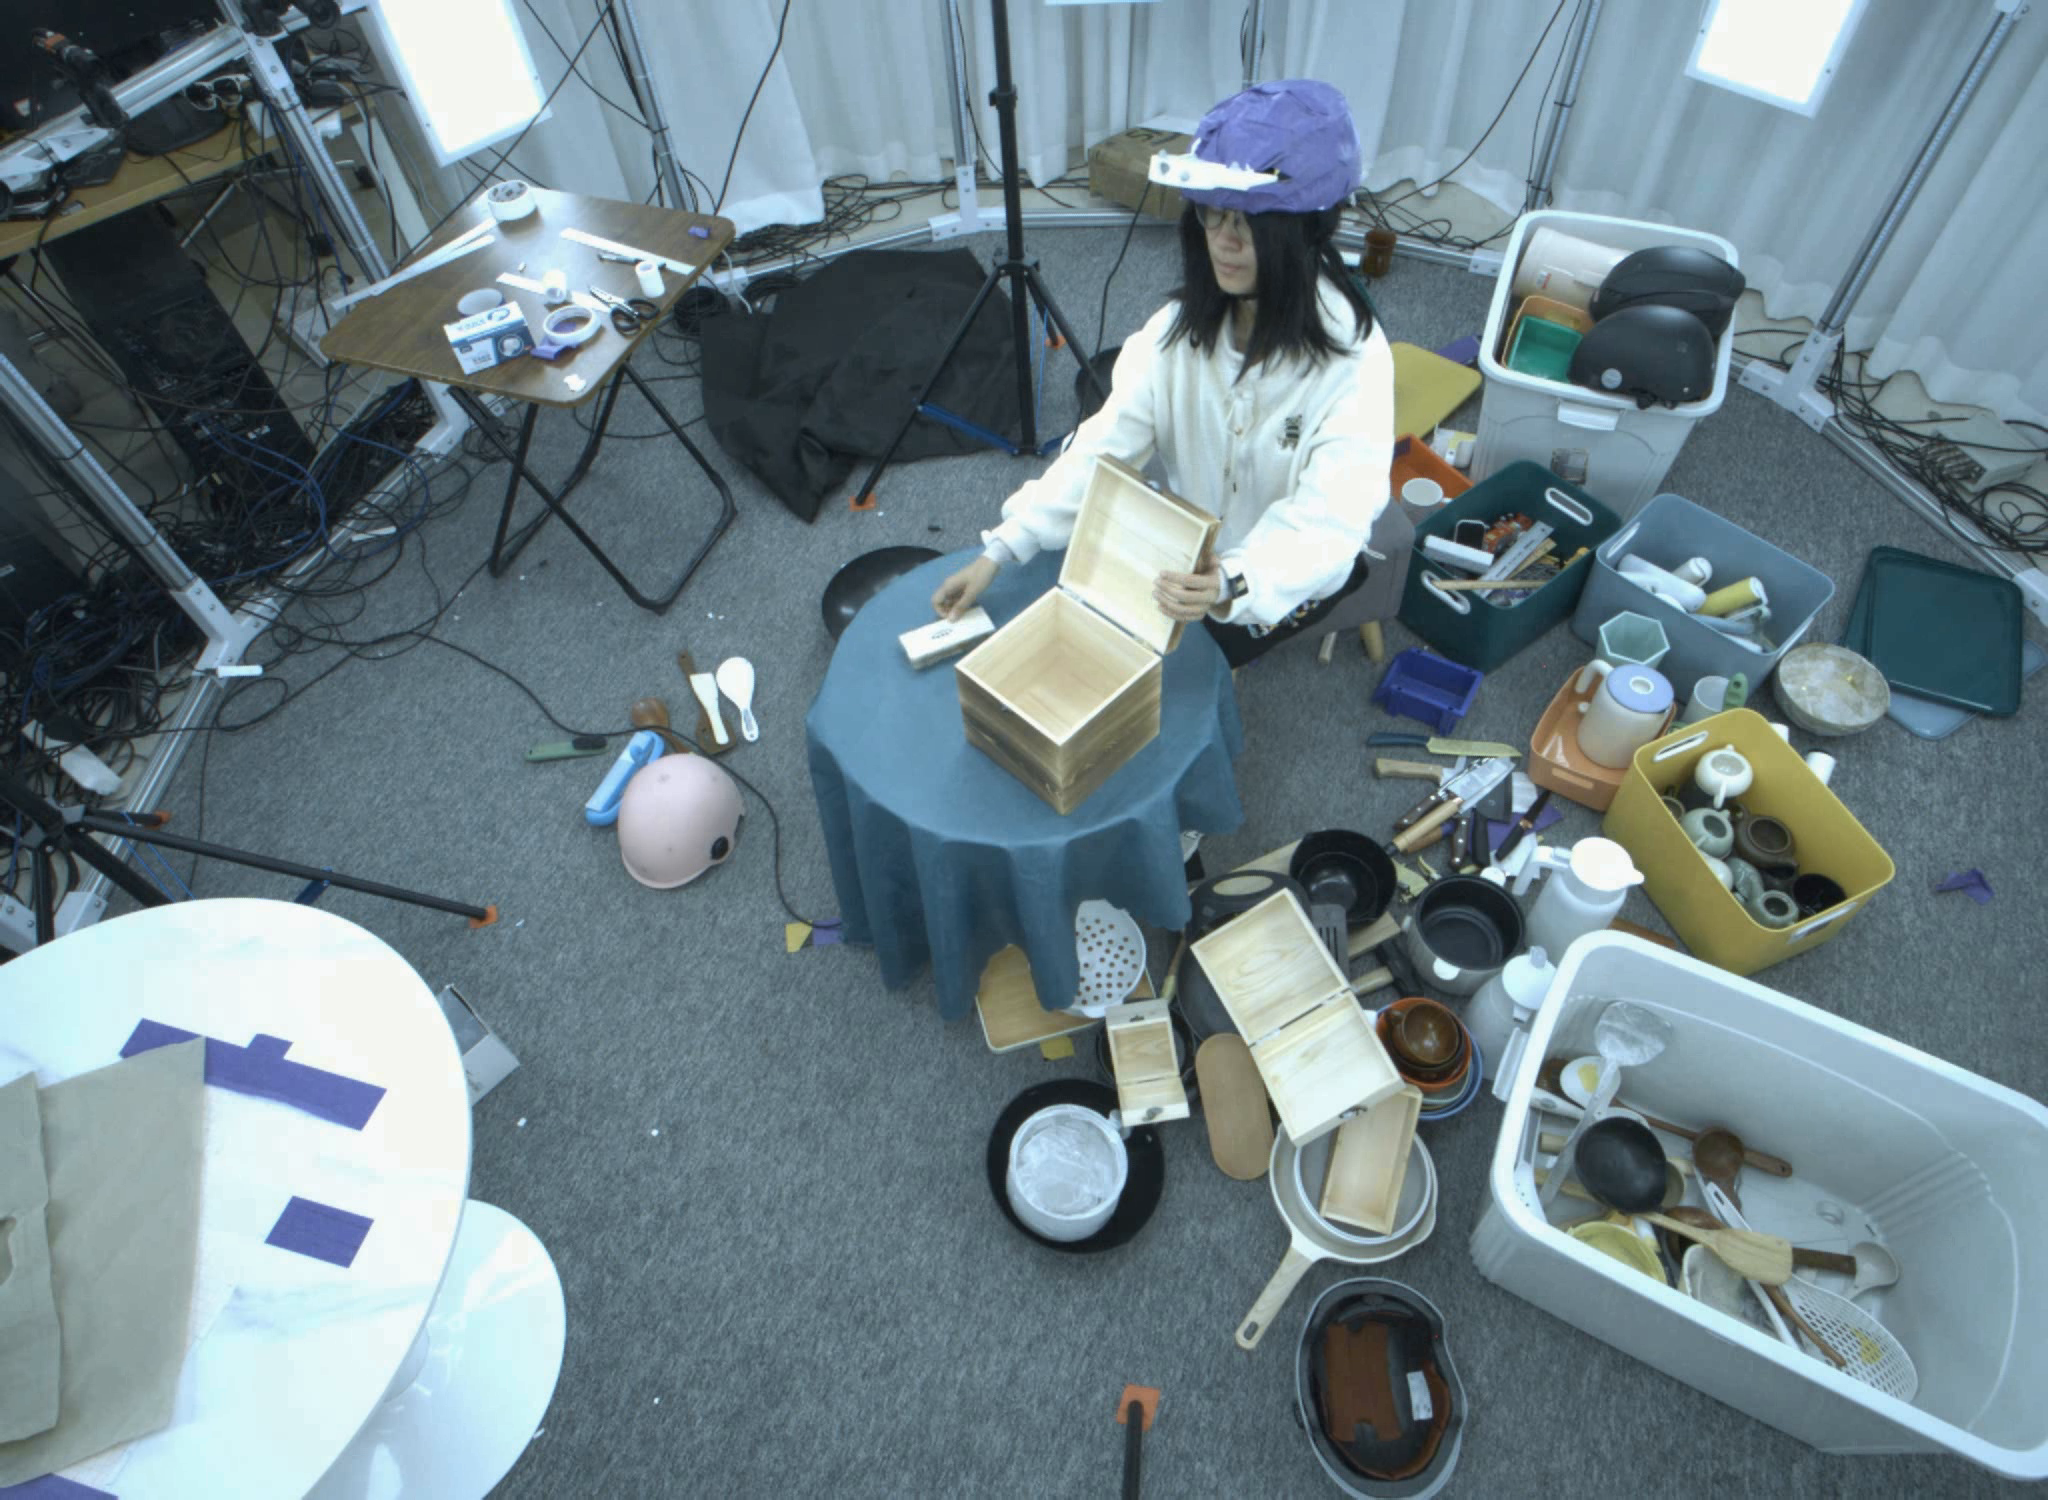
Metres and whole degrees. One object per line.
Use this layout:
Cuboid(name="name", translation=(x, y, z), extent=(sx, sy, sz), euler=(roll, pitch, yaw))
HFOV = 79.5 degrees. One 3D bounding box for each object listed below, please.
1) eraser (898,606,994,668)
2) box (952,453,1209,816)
Cuboid(name="eraser", translation=(-0.120, -0.175, 1.898), extent=(0.140, 0.029, 0.056), euler=(-21, 53, -13))
Cuboid(name="box", translation=(0.078, -0.159, 1.673), extent=(0.205, 0.380, 0.324), euler=(36, 64, 27))
